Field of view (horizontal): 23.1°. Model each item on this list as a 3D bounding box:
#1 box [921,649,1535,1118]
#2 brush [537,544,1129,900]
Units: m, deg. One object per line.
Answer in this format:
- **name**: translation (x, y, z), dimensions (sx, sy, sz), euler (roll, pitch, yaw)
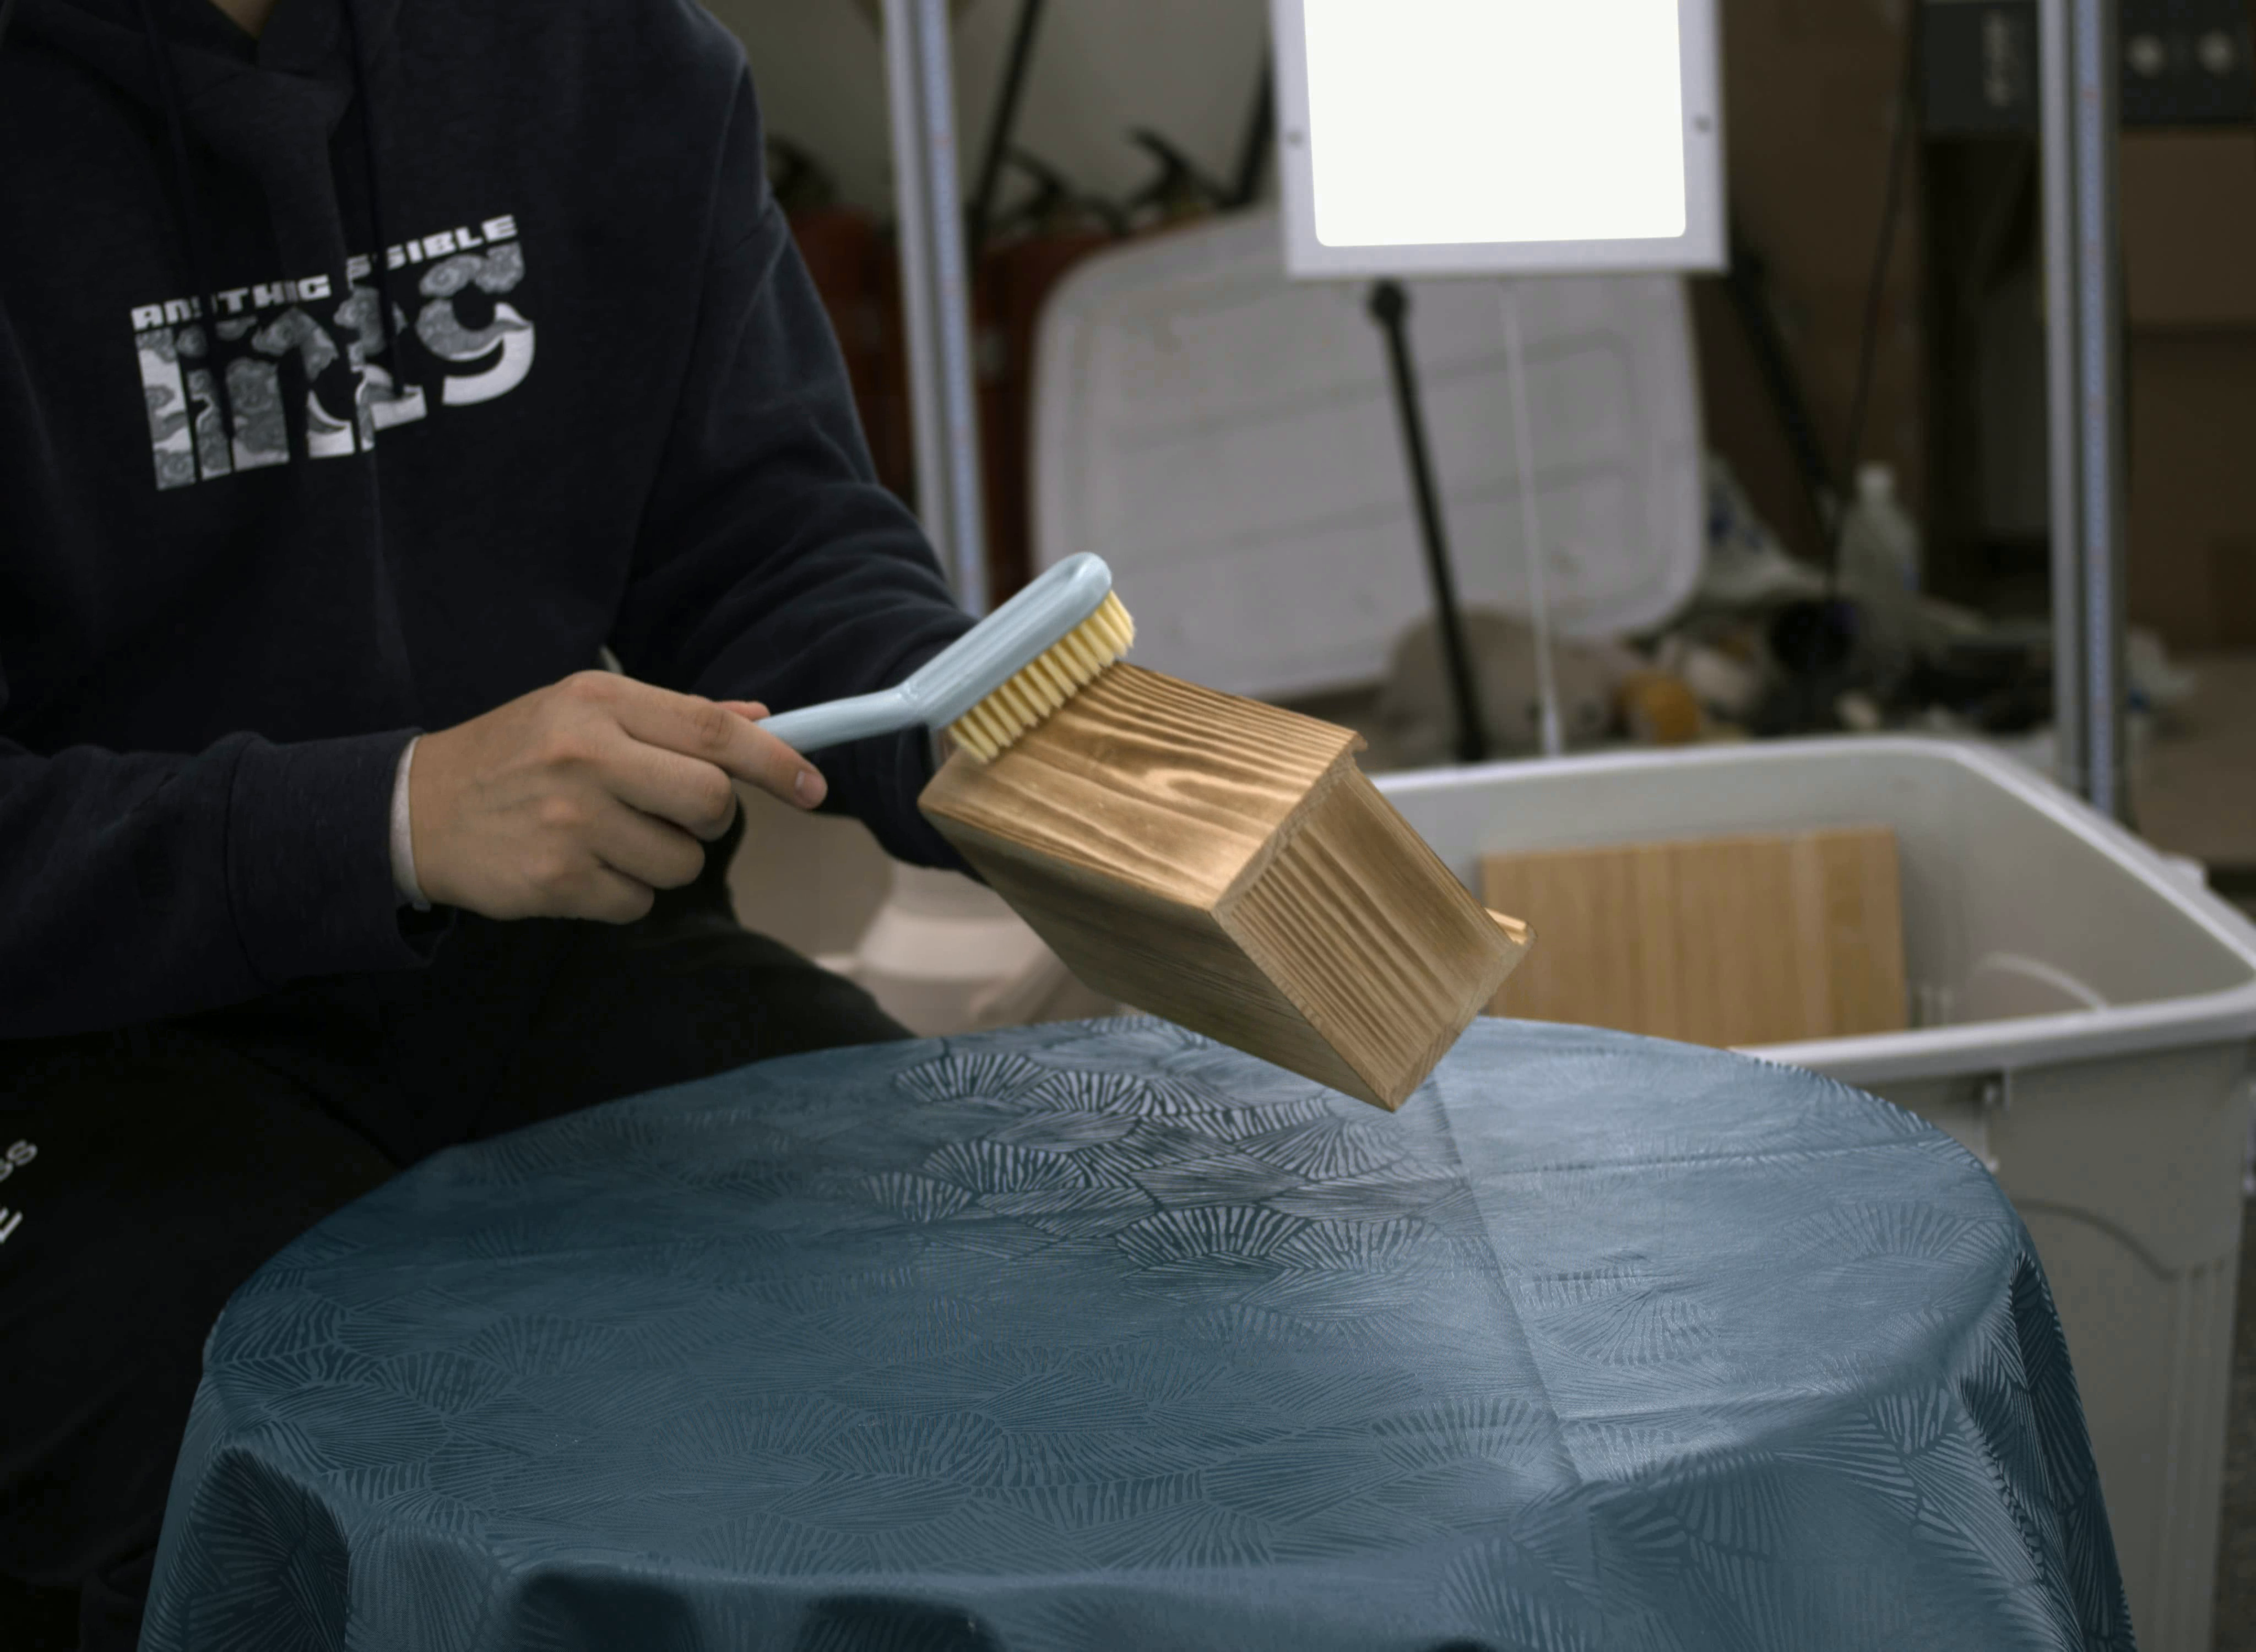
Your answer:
- **box**: translation (0.031, 0.015, 1.887), dimensions (0.080, 0.106, 0.215), euler (-50, 29, -11)
- **brush**: translation (-0.103, -0.027, 1.926), dimensions (0.229, 0.049, 0.038), euler (-27, 28, 2)
